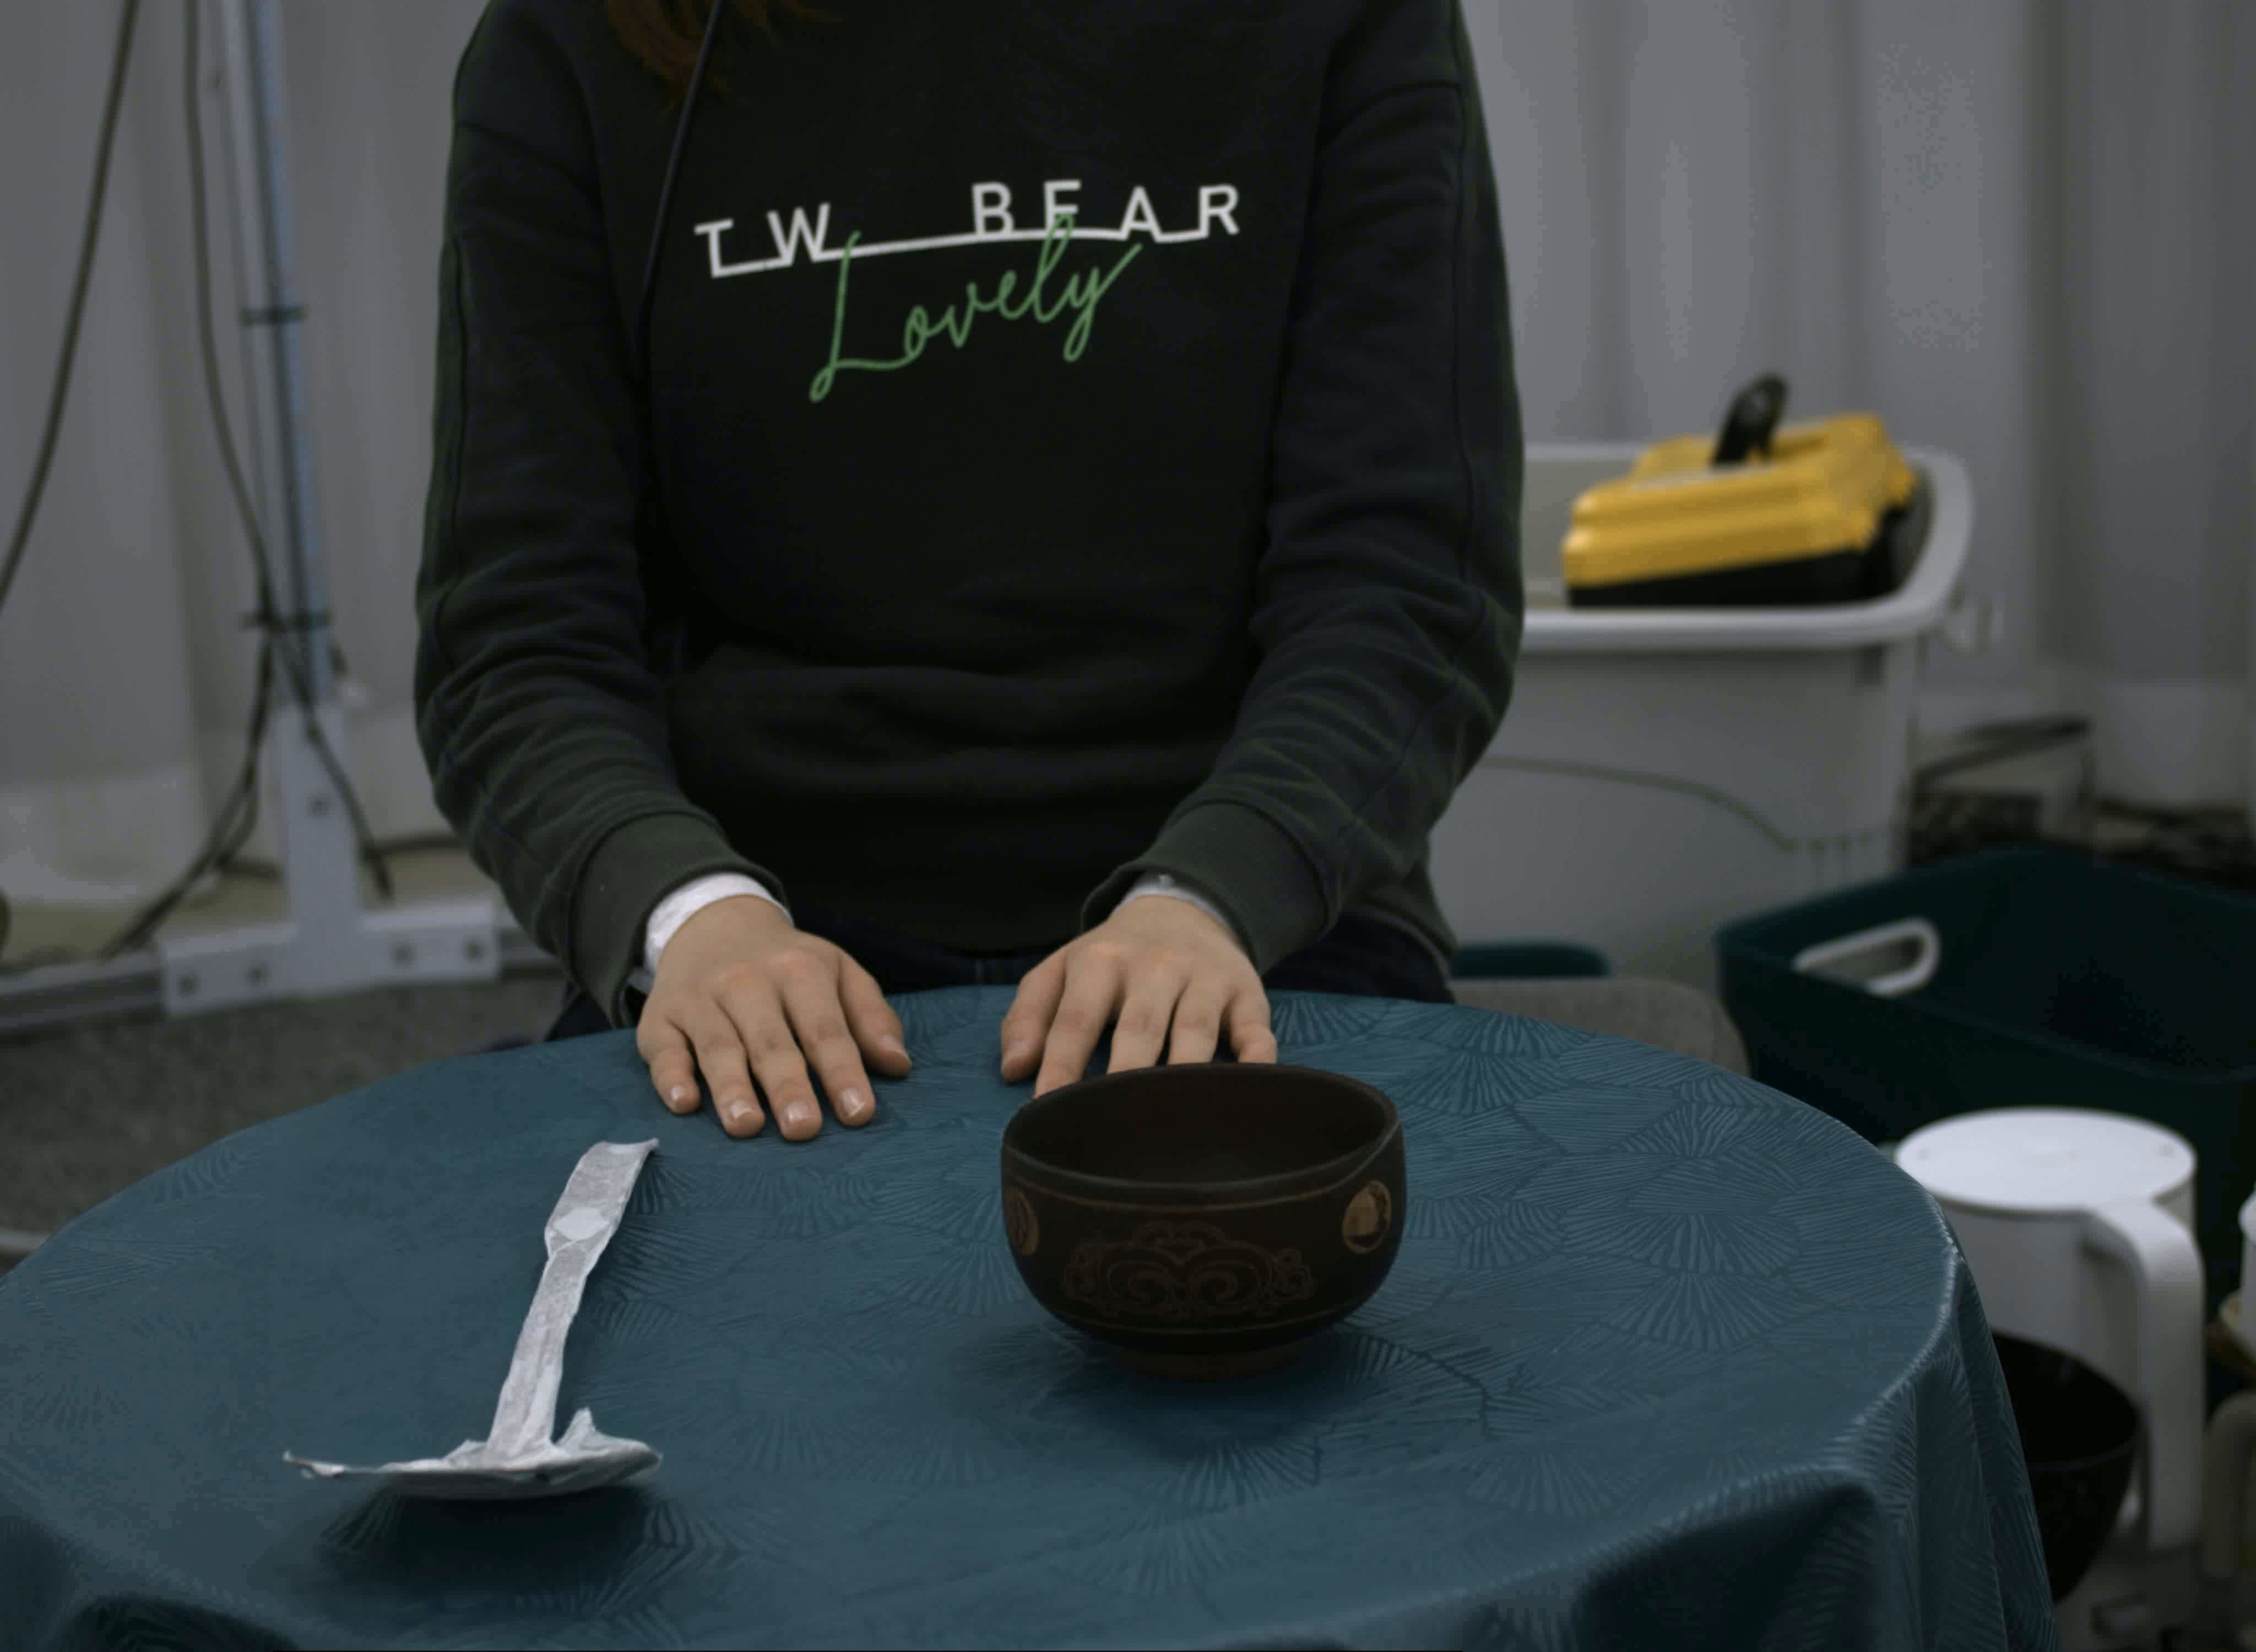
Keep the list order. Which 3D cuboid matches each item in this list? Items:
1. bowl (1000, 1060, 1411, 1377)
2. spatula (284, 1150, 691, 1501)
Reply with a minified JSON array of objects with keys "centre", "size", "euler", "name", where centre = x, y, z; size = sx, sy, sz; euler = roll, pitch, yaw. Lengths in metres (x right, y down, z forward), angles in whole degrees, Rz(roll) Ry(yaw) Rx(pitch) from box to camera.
[{"centre":[0.023,0.116,1.567],"size":[0.117,0.069,0.119],"euler":[-1,14,0],"name":"bowl"},{"centre":[-0.163,0.136,1.590],"size":[0.098,0.044,0.367],"euler":[-4,15,4],"name":"spatula"}]
